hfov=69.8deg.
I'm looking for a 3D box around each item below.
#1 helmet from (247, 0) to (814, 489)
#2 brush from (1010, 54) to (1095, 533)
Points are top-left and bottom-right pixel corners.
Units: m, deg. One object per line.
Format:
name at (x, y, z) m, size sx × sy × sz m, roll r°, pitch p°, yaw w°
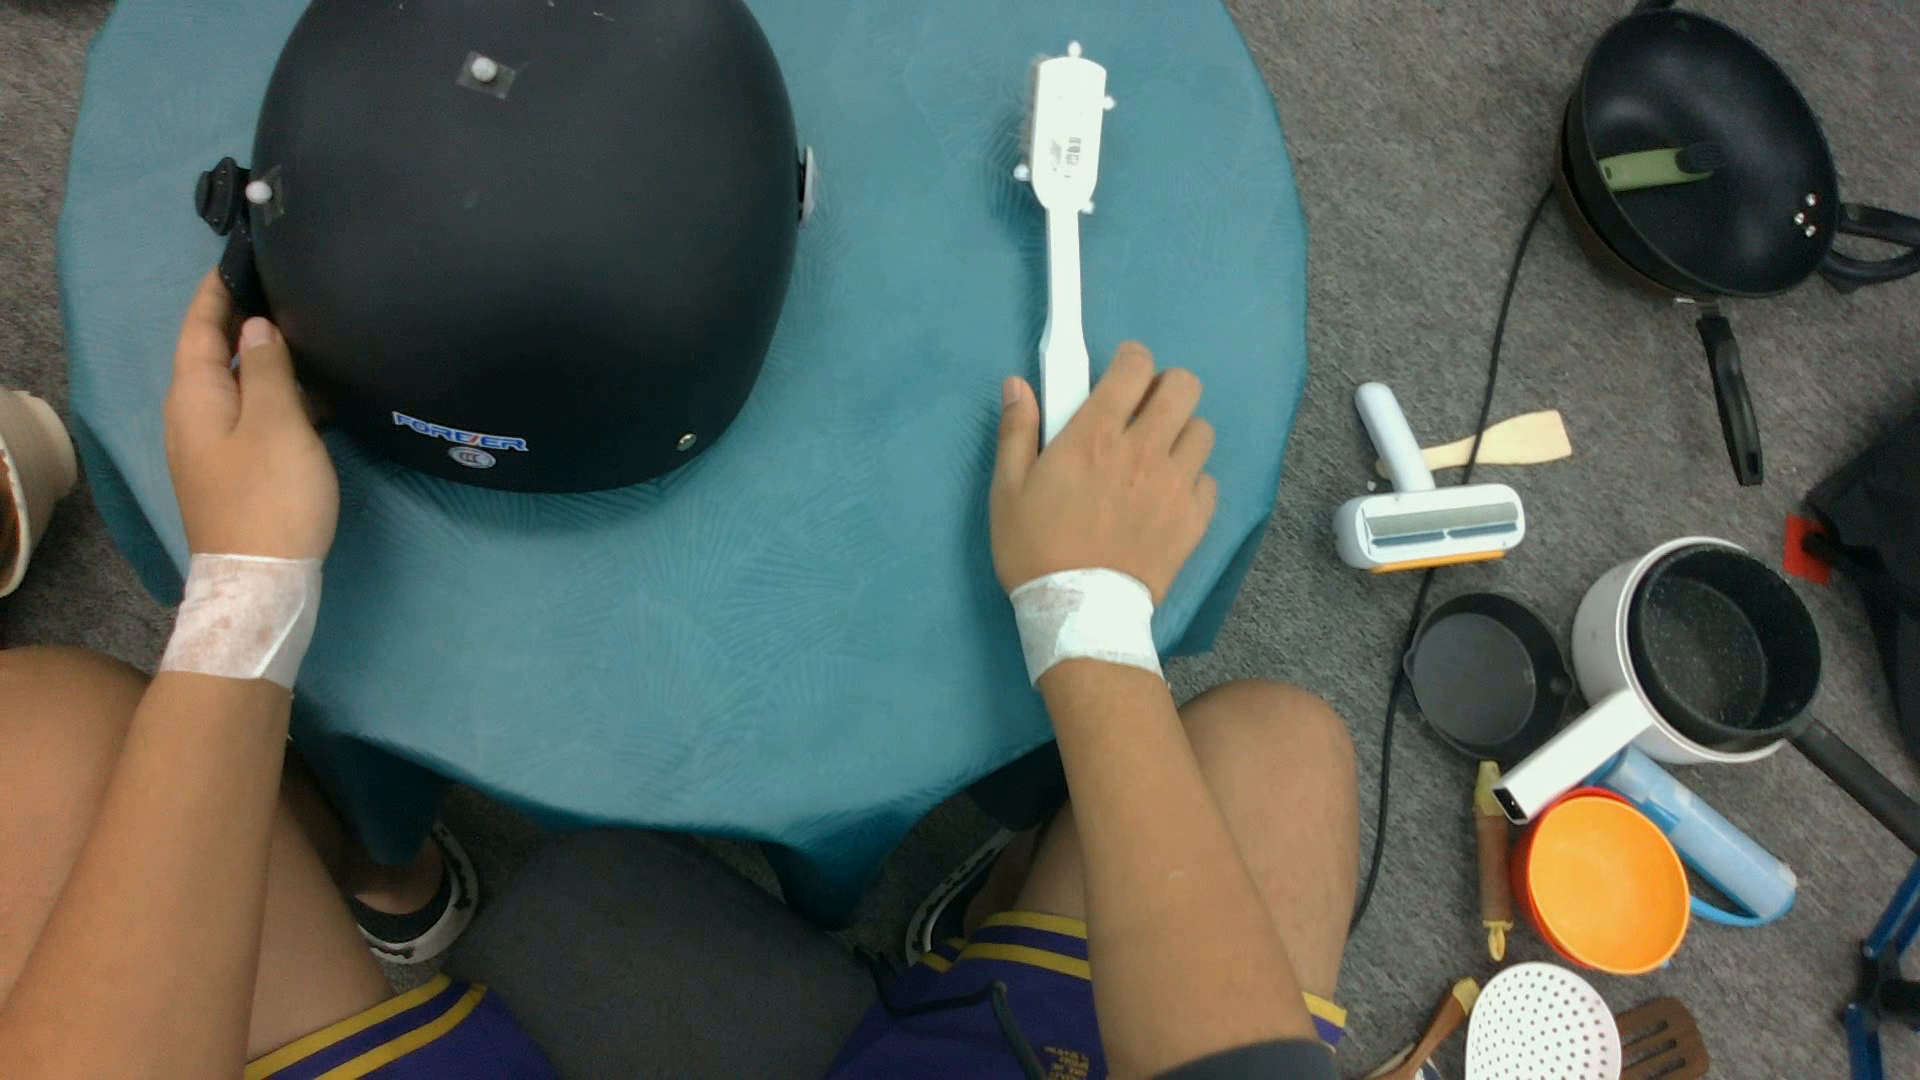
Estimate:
helmet at (-0.180, -0.165, 0.583) m, size 0.230 × 0.166 × 0.274 m, roll 16°, pitch 72°, yaw -7°
brush at (0.045, -0.125, 0.692) m, size 0.034 × 0.050 × 0.243 m, roll 0°, pitch 90°, yaw -12°
